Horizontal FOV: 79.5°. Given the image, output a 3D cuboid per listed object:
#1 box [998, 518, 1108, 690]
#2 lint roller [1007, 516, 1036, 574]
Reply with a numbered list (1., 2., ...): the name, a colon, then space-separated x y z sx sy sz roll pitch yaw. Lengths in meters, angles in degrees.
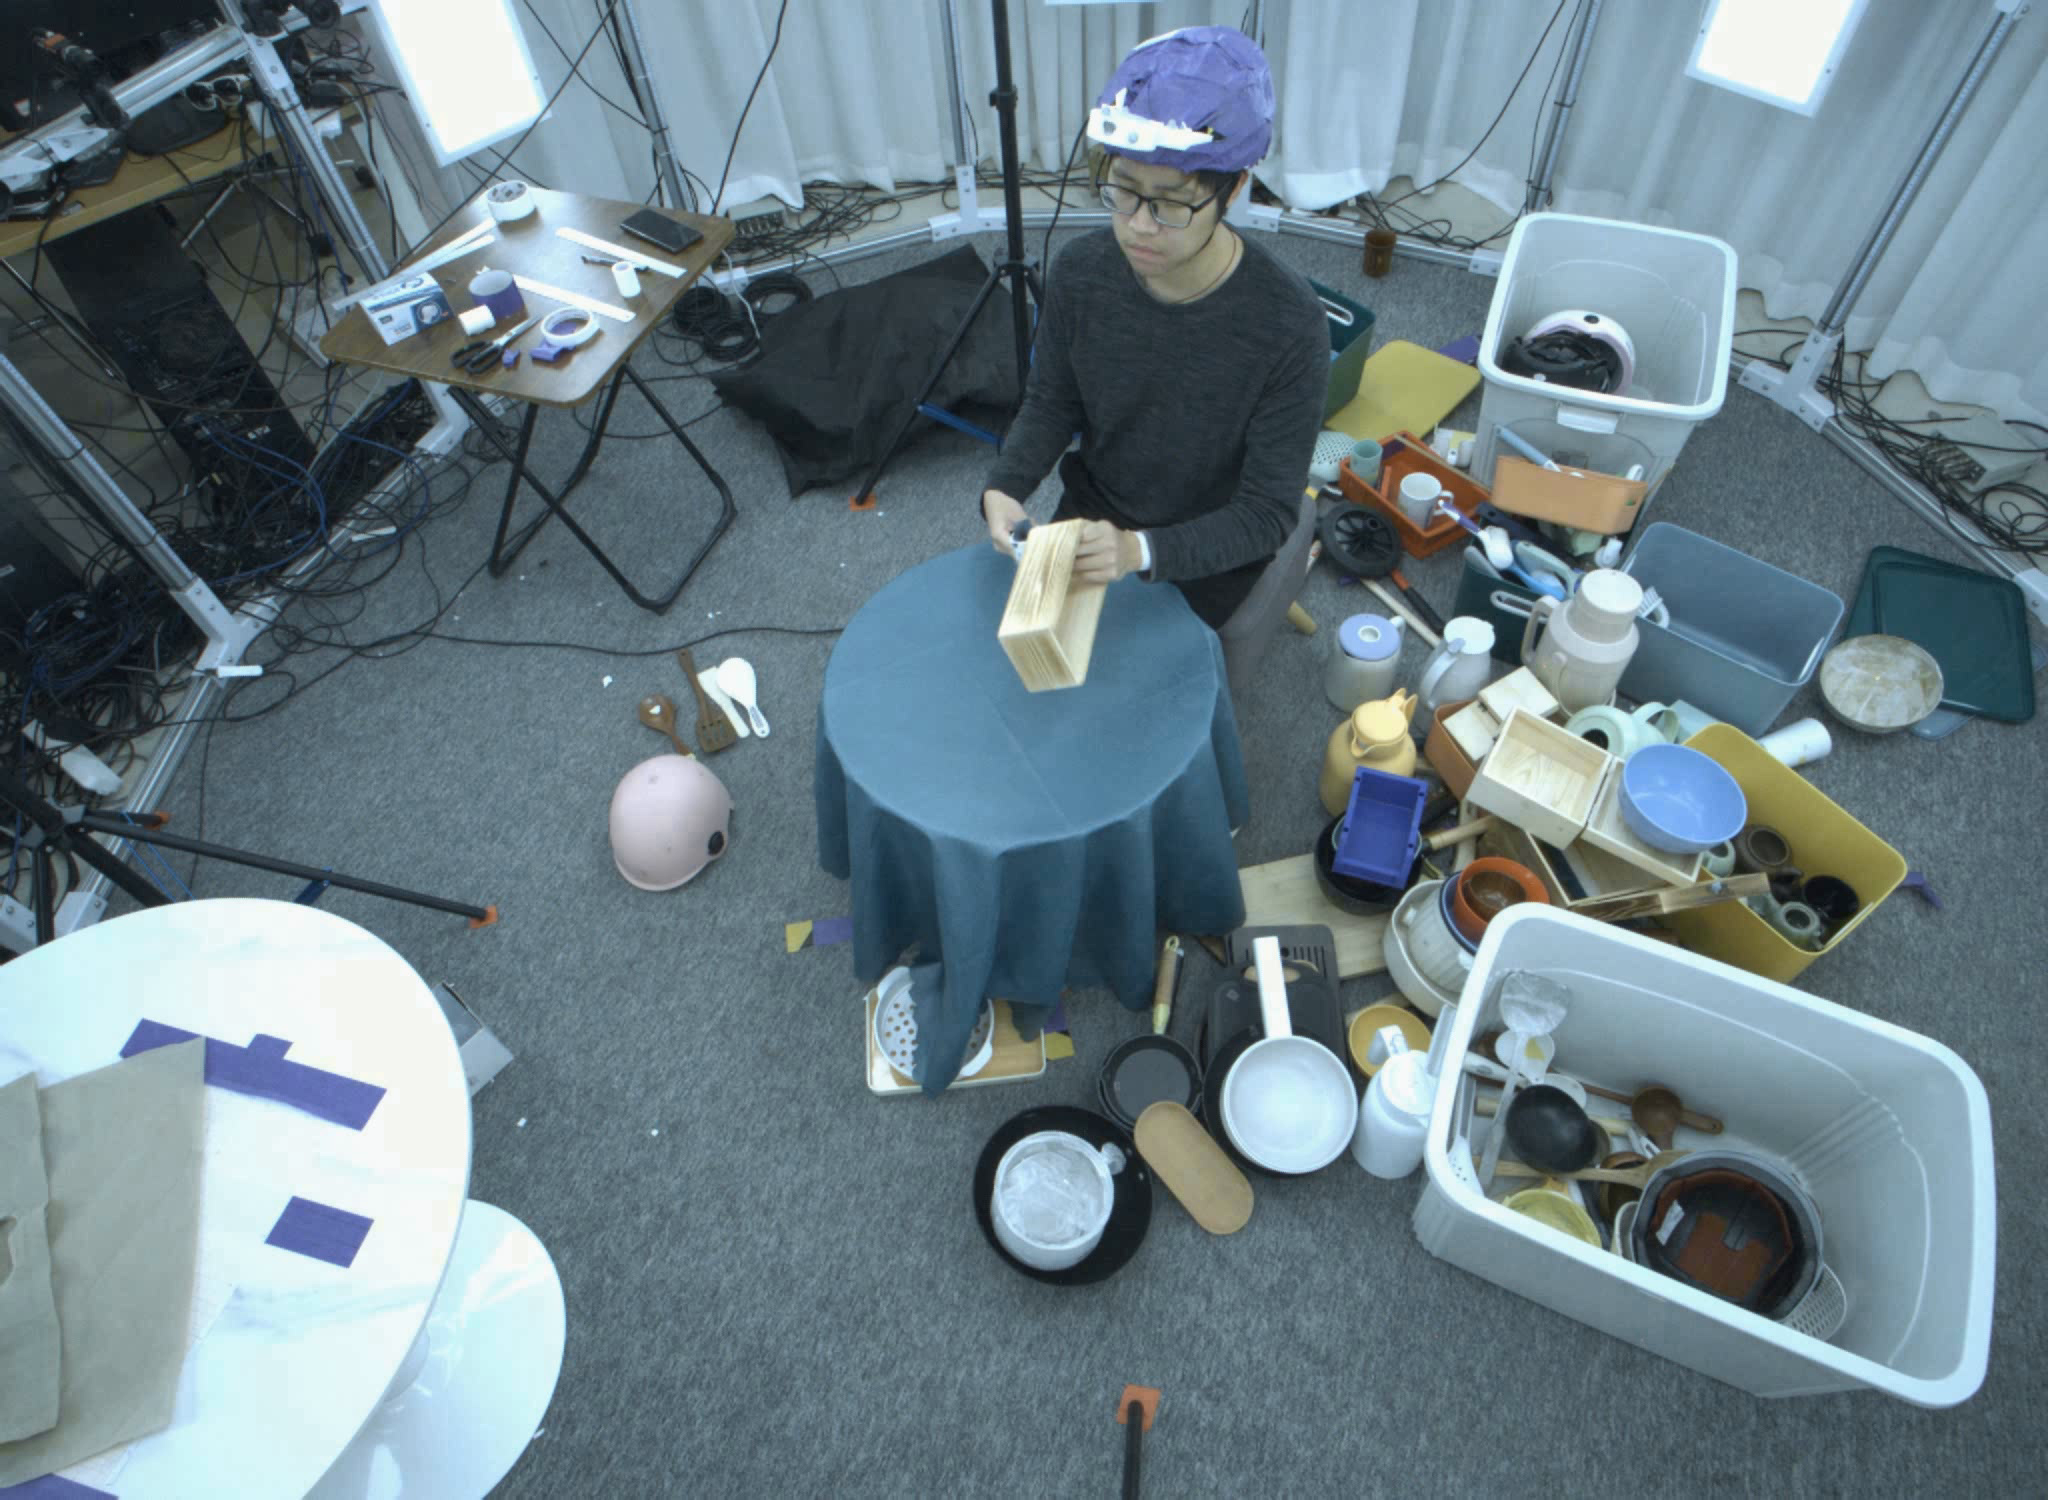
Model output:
1. box: 0.041 -0.195 1.632 0.079 0.109 0.210 -6 48 23
2. lint roller: 0.006 -0.292 1.837 0.050 0.179 0.243 -23 35 2
